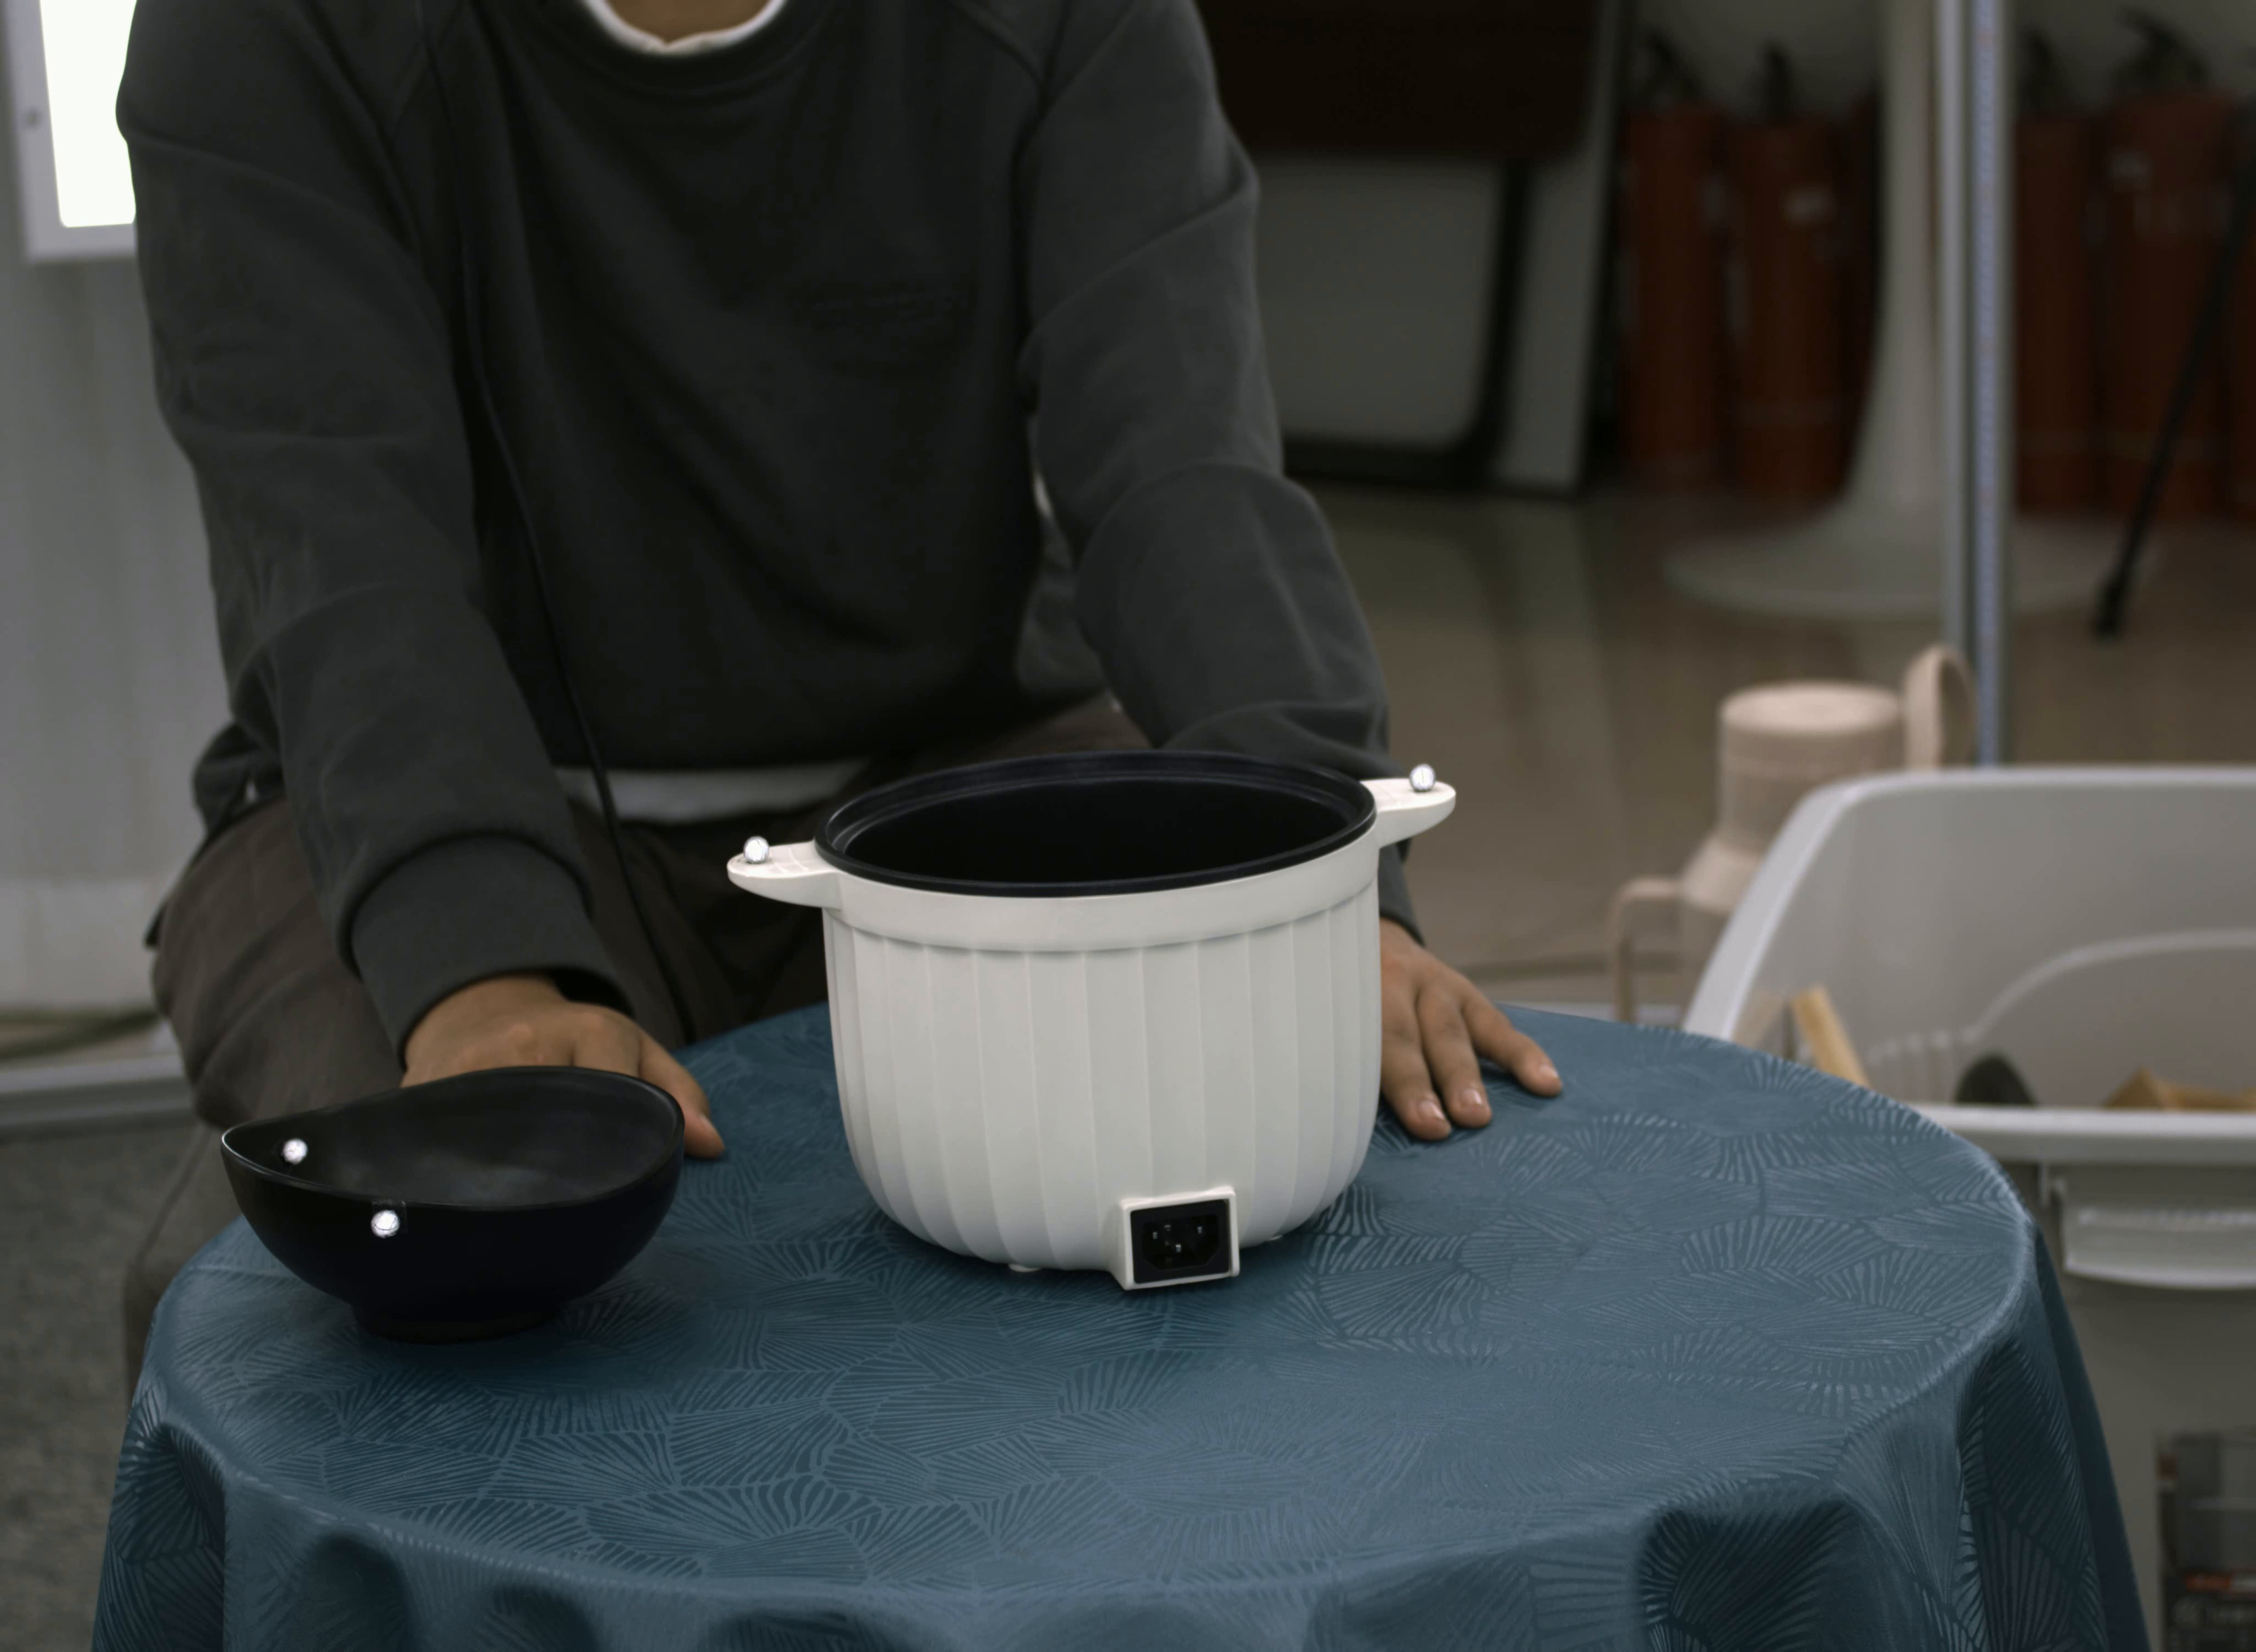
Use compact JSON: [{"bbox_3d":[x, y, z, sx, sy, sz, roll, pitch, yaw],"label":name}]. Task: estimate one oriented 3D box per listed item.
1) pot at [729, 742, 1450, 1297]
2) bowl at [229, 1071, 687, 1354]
[{"bbox_3d":[-0.010,0.059,1.738,0.236,0.144,0.192,-6,17,-13],"label":"pot"},{"bbox_3d":[-0.208,0.124,1.688,0.134,0.067,0.172,-13,15,-34],"label":"bowl"}]
